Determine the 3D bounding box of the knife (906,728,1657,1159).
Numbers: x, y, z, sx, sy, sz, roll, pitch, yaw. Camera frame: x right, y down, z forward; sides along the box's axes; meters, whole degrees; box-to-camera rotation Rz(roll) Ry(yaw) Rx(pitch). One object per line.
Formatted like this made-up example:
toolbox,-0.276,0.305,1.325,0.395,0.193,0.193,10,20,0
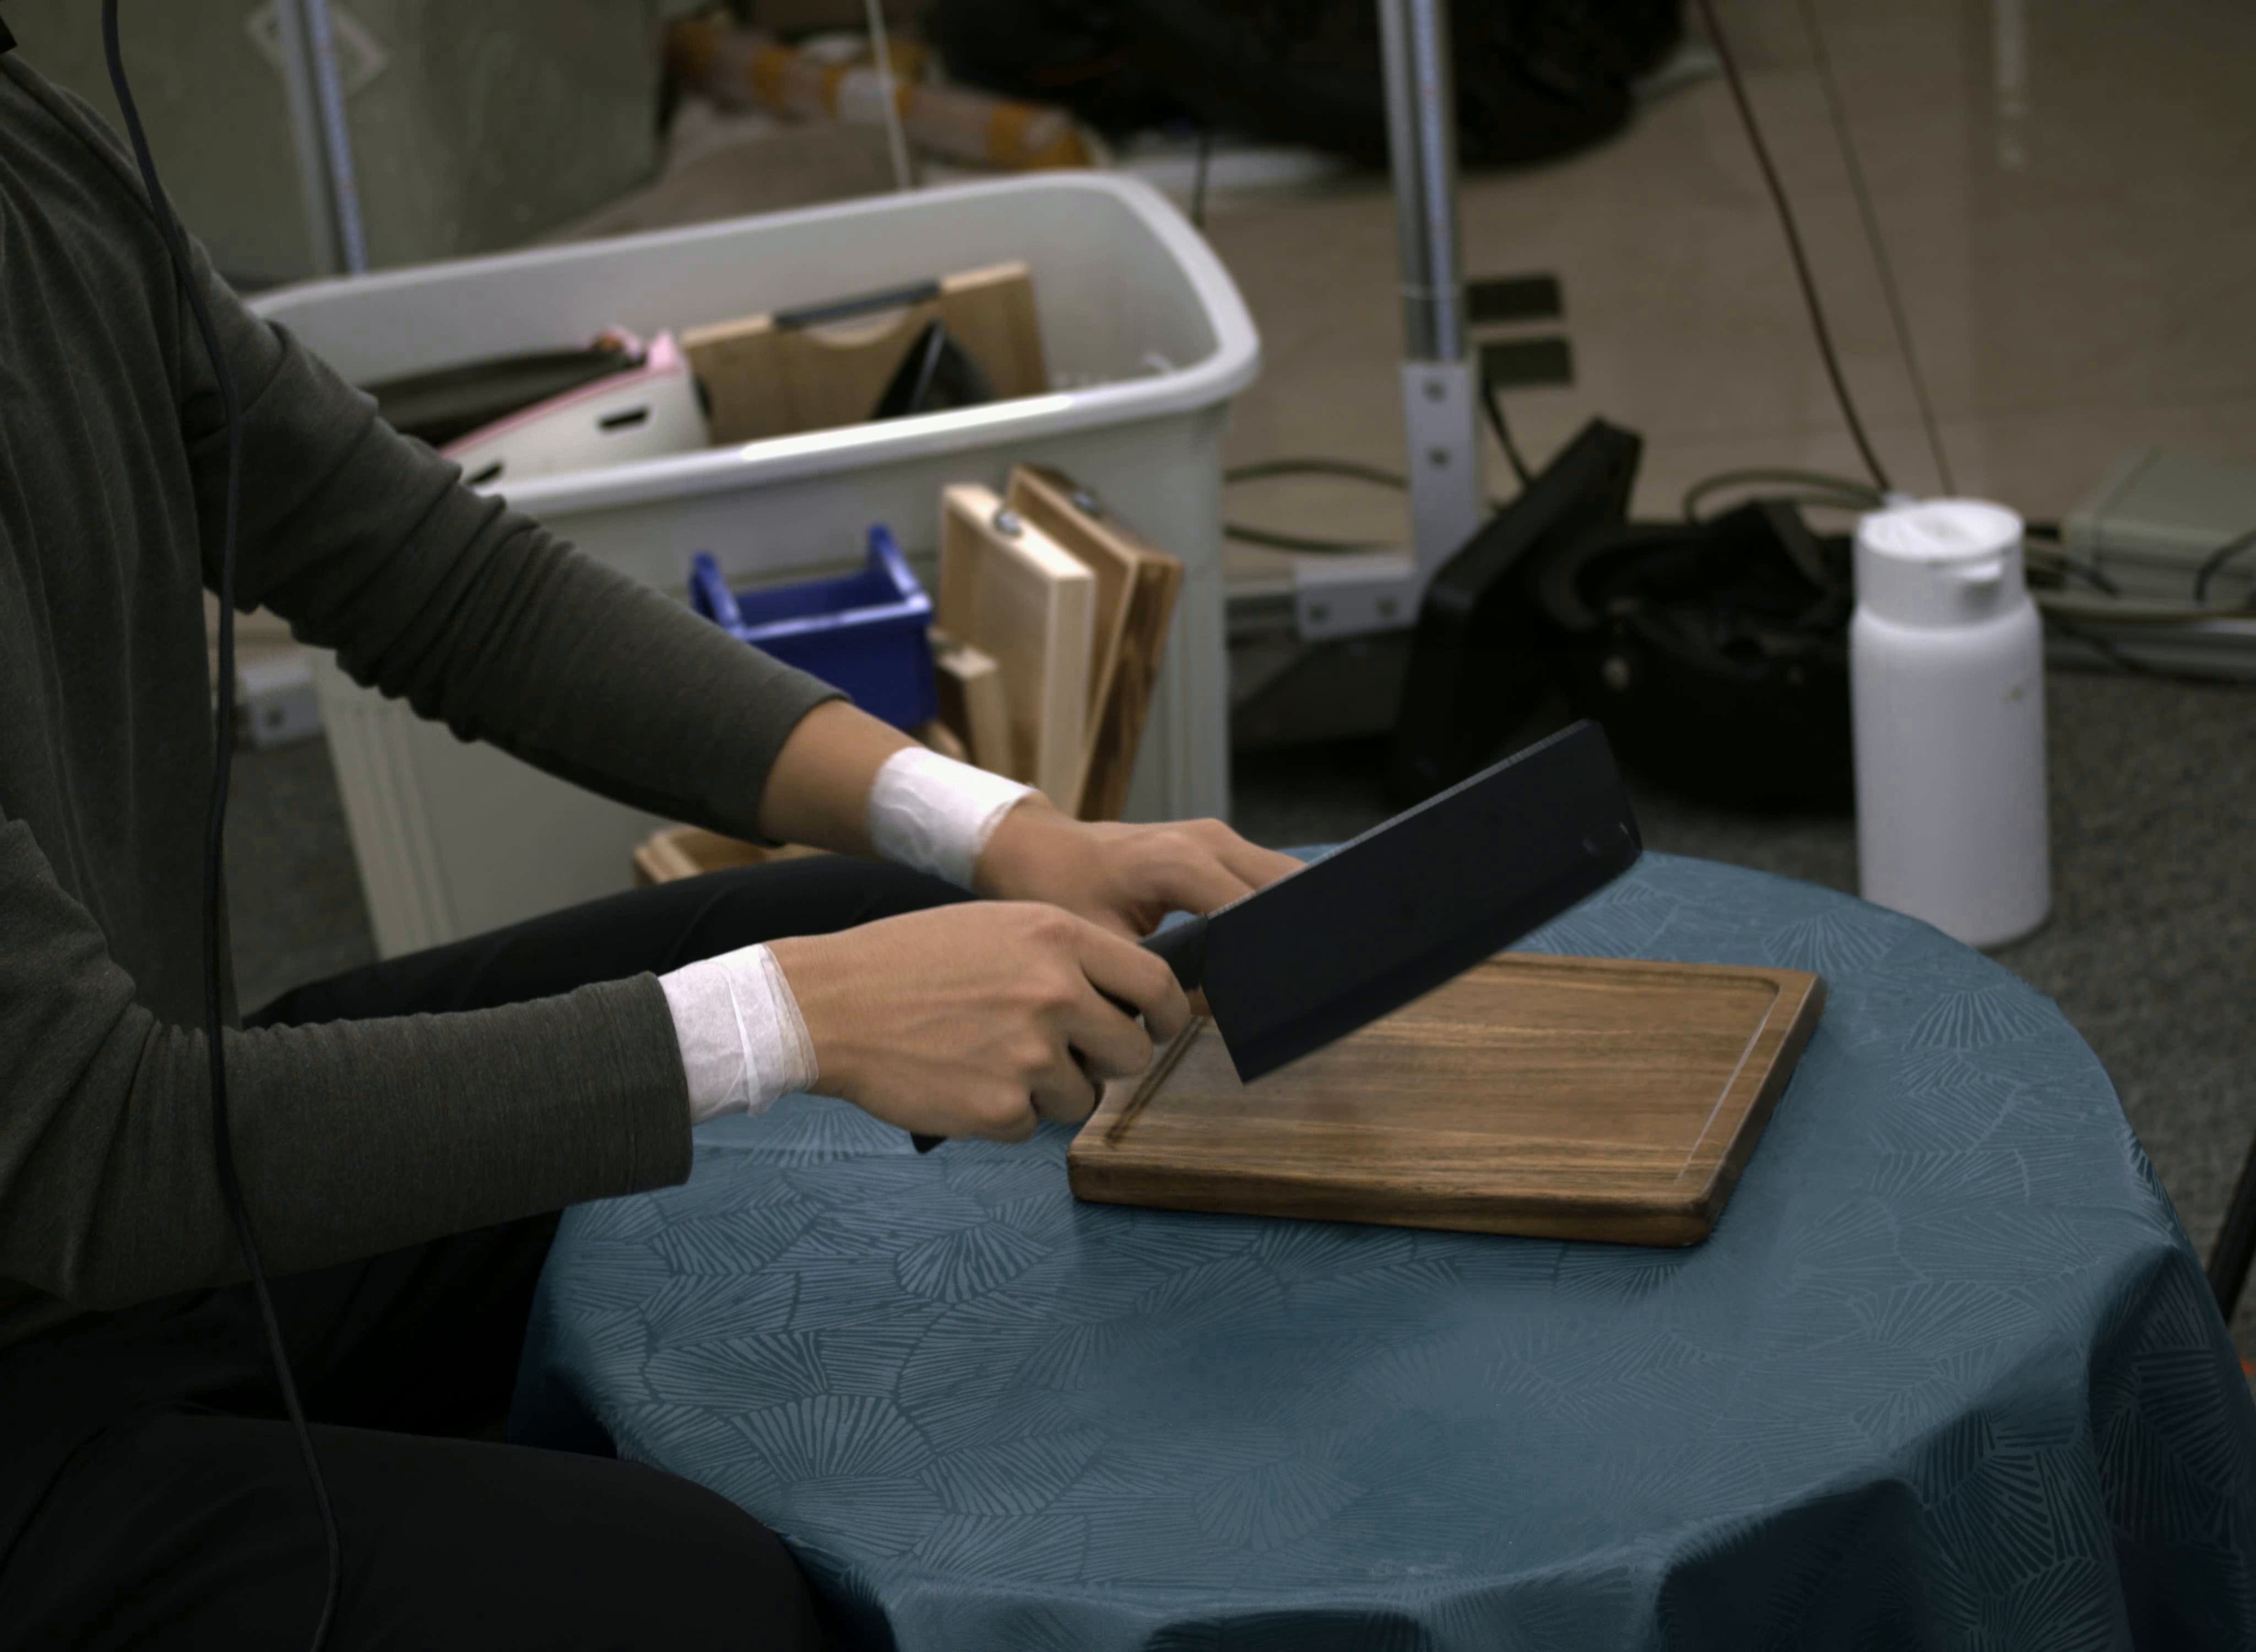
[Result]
knife,0.056,0.052,2.053,0.301,0.082,0.021,-22,17,-15

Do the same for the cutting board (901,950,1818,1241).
cutting board,0.077,0.096,2.200,0.351,0.023,0.198,3,26,20
